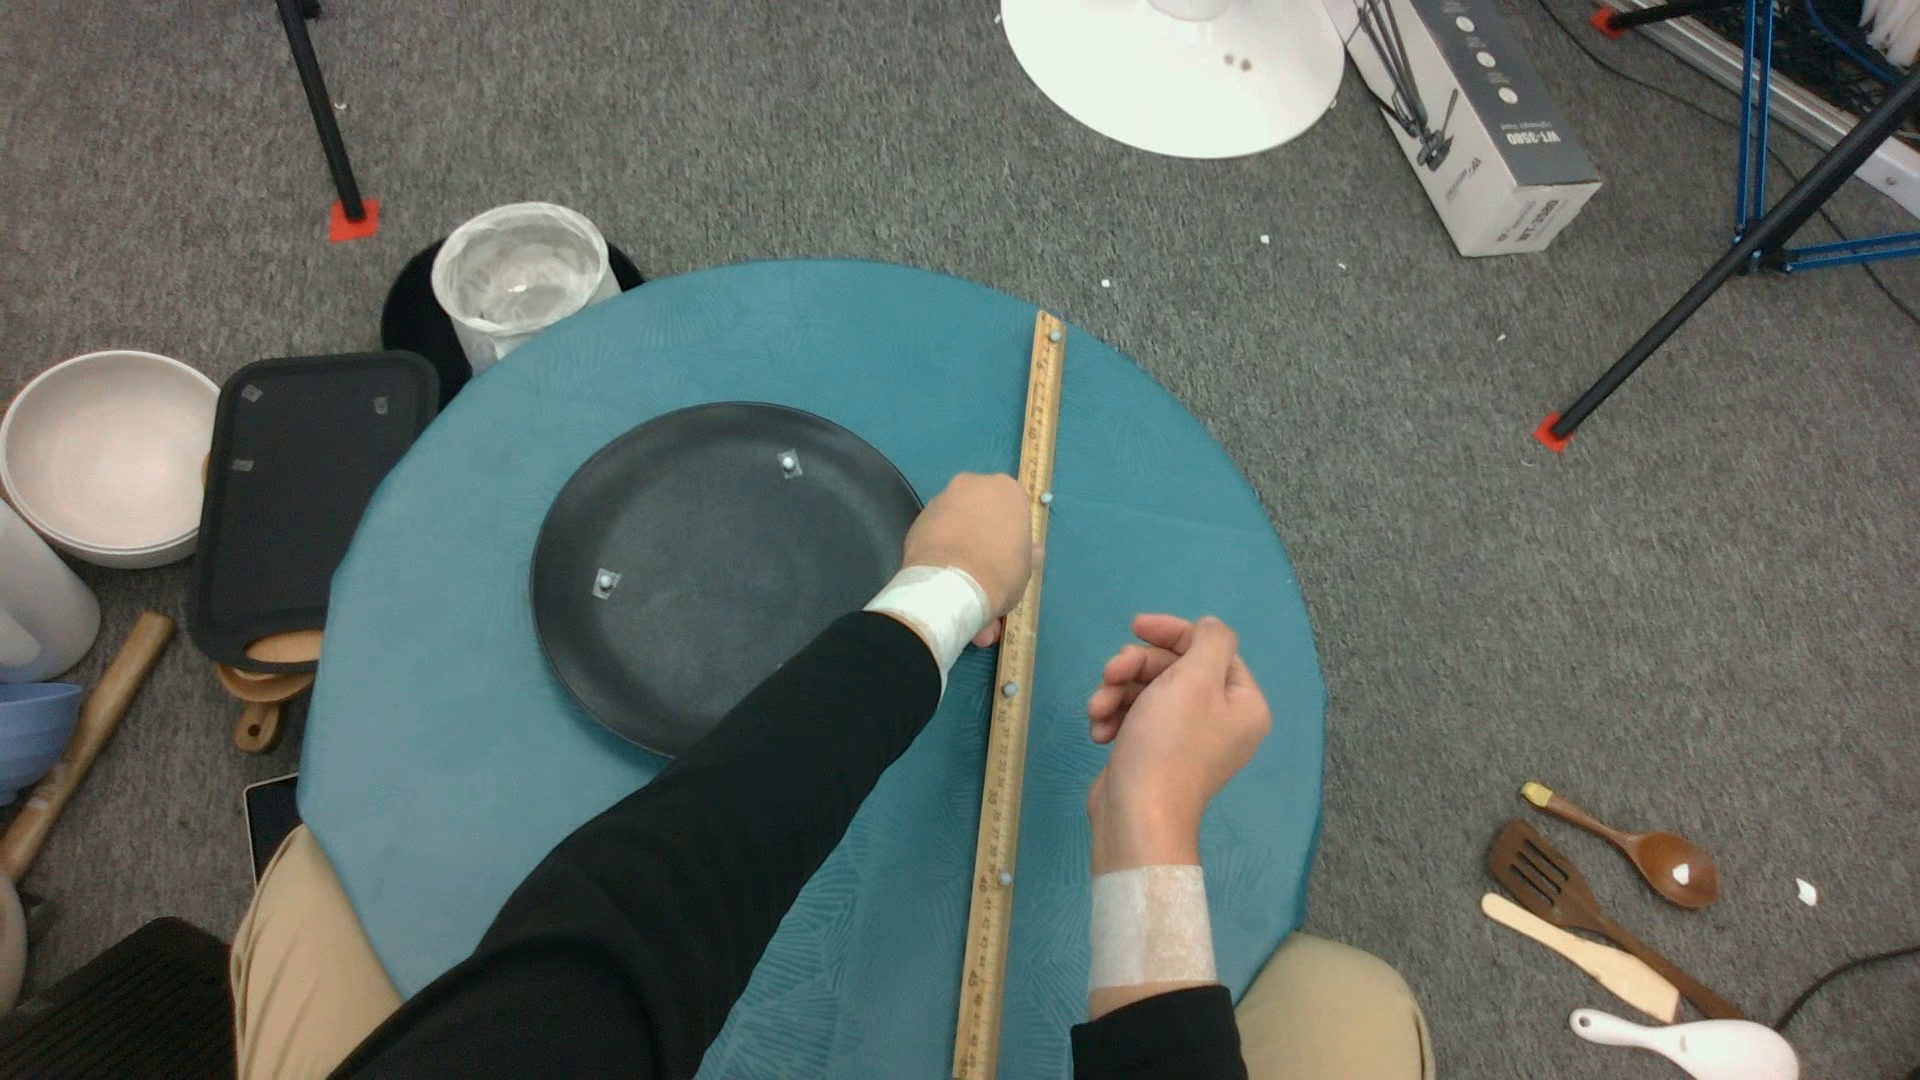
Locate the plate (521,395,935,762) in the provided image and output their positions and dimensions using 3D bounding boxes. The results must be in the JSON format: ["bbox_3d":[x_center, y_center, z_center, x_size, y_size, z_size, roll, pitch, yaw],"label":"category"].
[{"bbox_3d":[-0.137,0.020,0.830,0.244,0.023,0.245,4,62,-8],"label":"plate"}]

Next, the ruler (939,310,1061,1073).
[{"bbox_3d":[0.029,0.060,0.842,0.027,0.006,0.502,22,58,-24],"label":"ruler"}]
